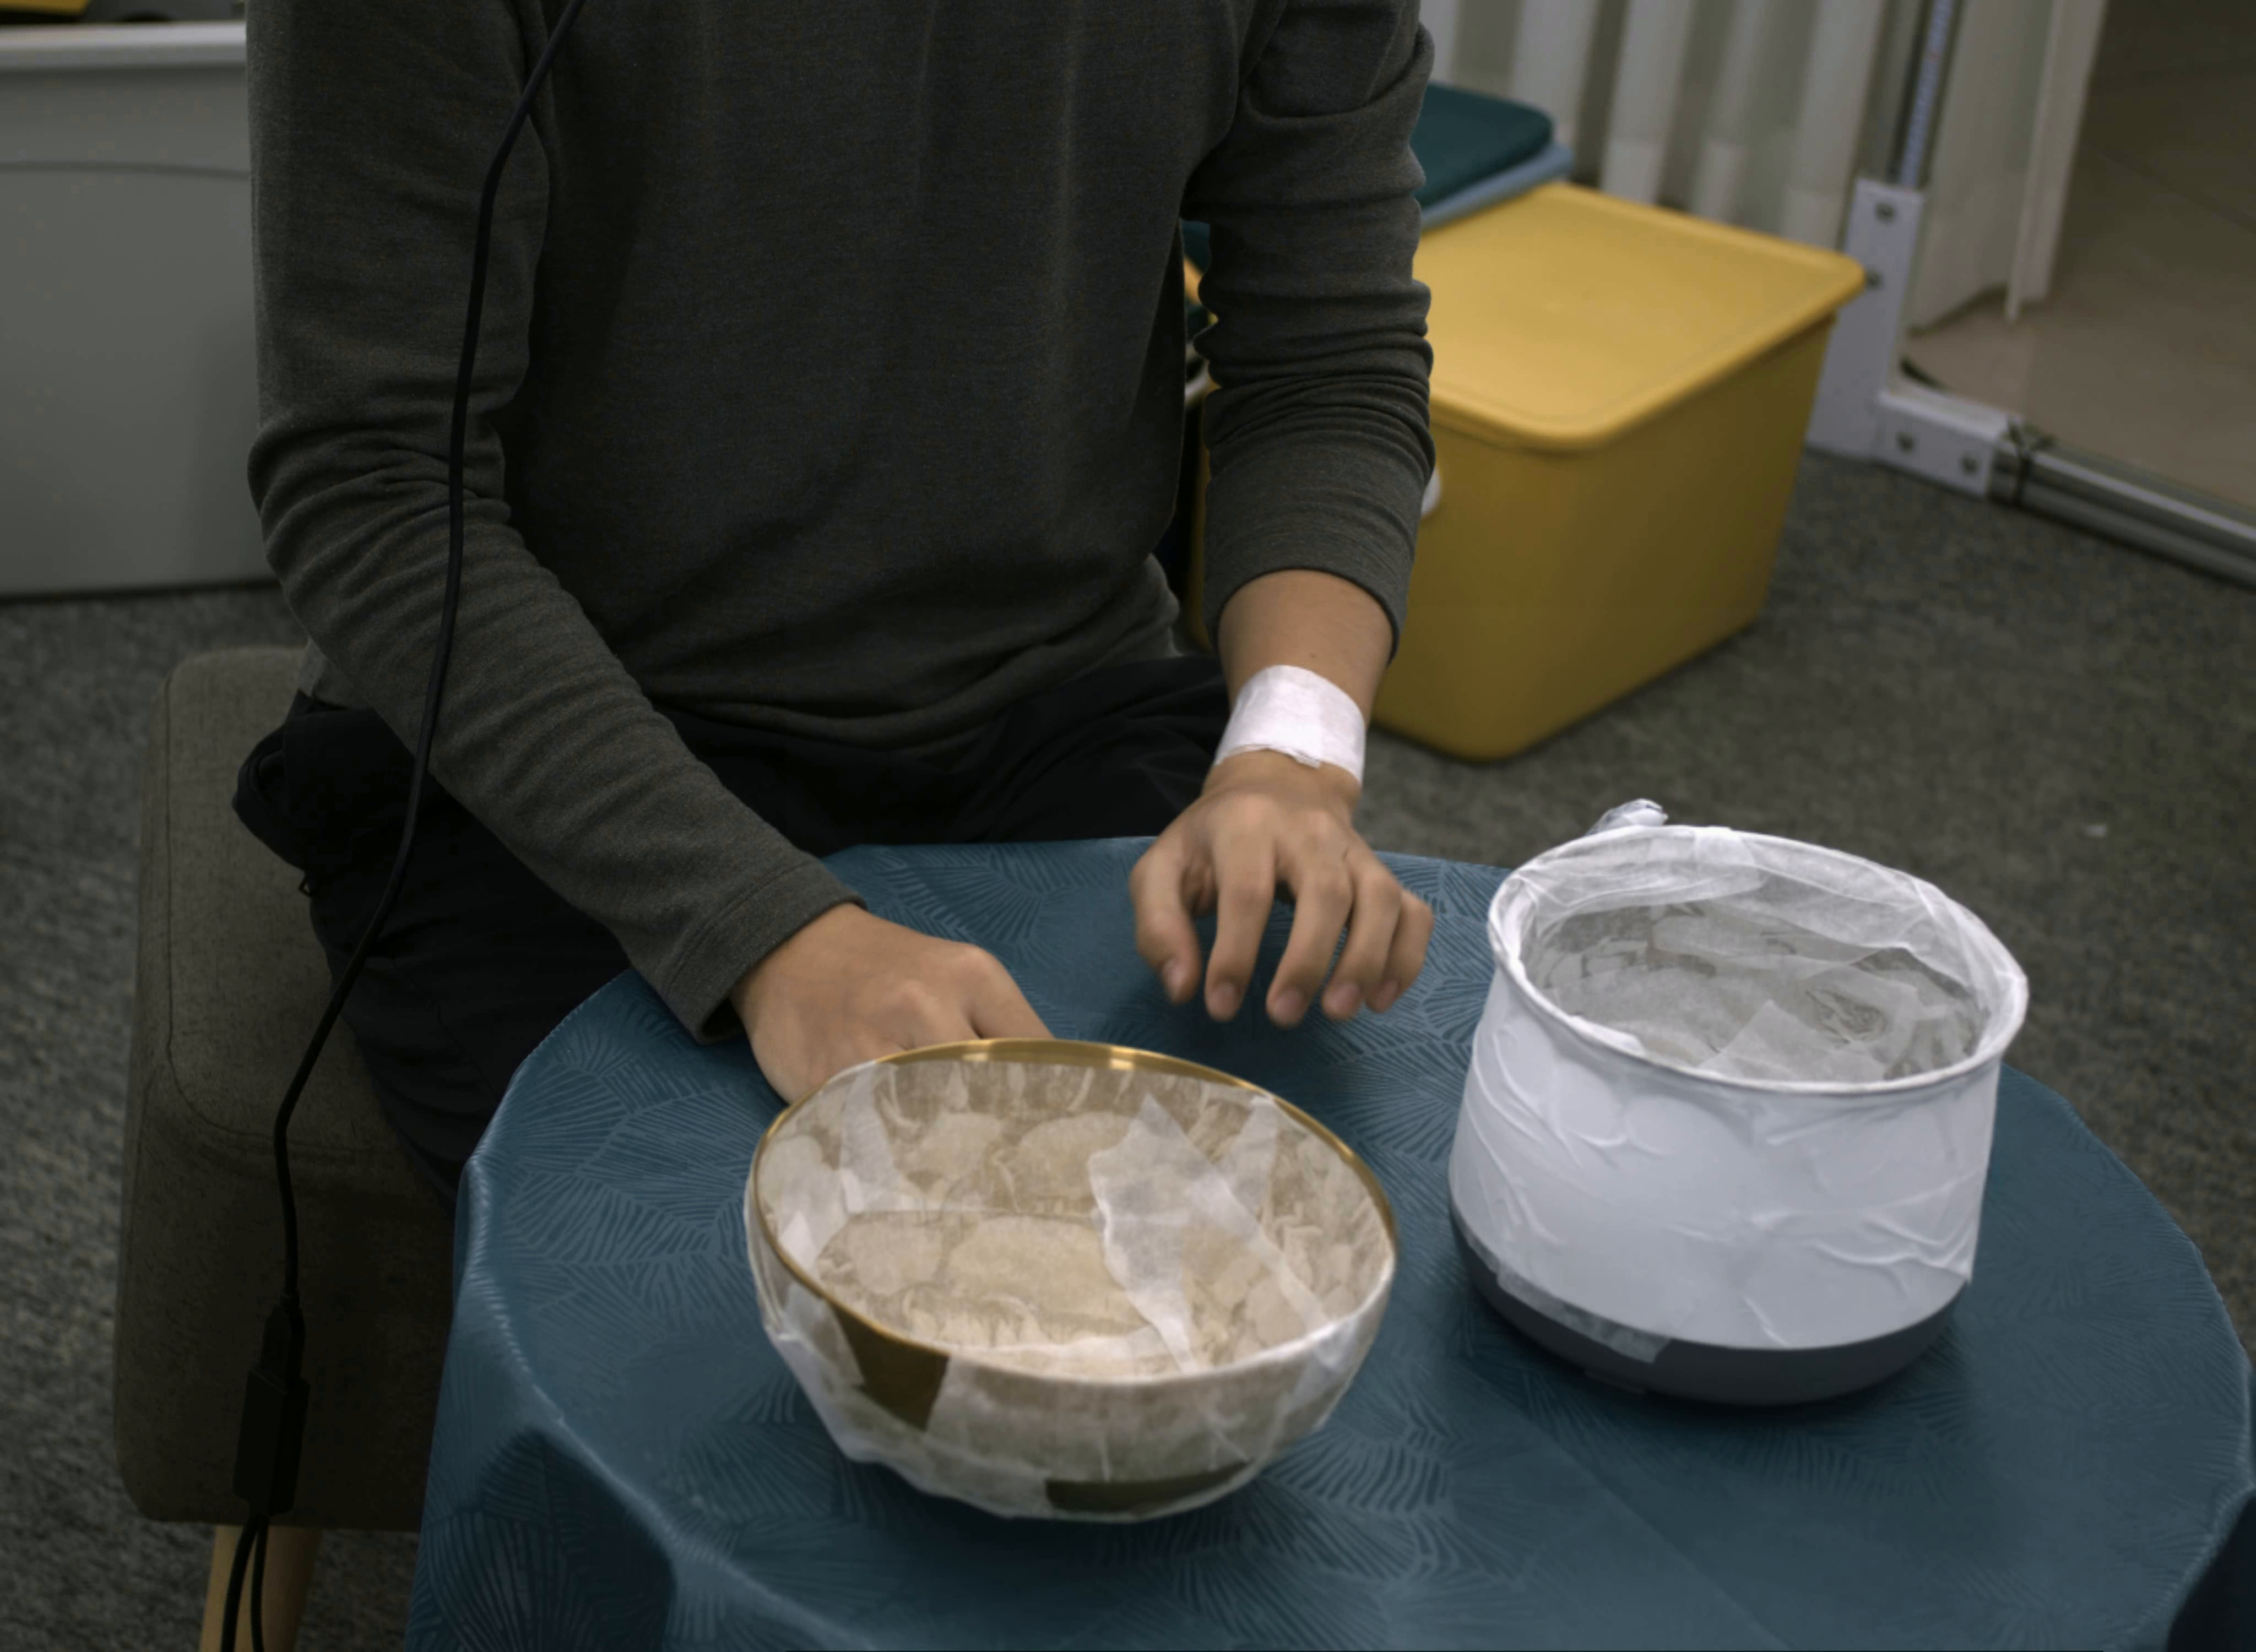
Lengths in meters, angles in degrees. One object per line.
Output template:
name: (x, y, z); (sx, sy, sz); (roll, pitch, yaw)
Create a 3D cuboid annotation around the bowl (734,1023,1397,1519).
bowl: (-0.021, 0.150, 1.645); (0.214, 0.094, 0.216); (3, 27, -2)

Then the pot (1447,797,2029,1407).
pot: (0.188, 0.084, 1.775); (0.177, 0.136, 0.236); (-3, 28, -19)
